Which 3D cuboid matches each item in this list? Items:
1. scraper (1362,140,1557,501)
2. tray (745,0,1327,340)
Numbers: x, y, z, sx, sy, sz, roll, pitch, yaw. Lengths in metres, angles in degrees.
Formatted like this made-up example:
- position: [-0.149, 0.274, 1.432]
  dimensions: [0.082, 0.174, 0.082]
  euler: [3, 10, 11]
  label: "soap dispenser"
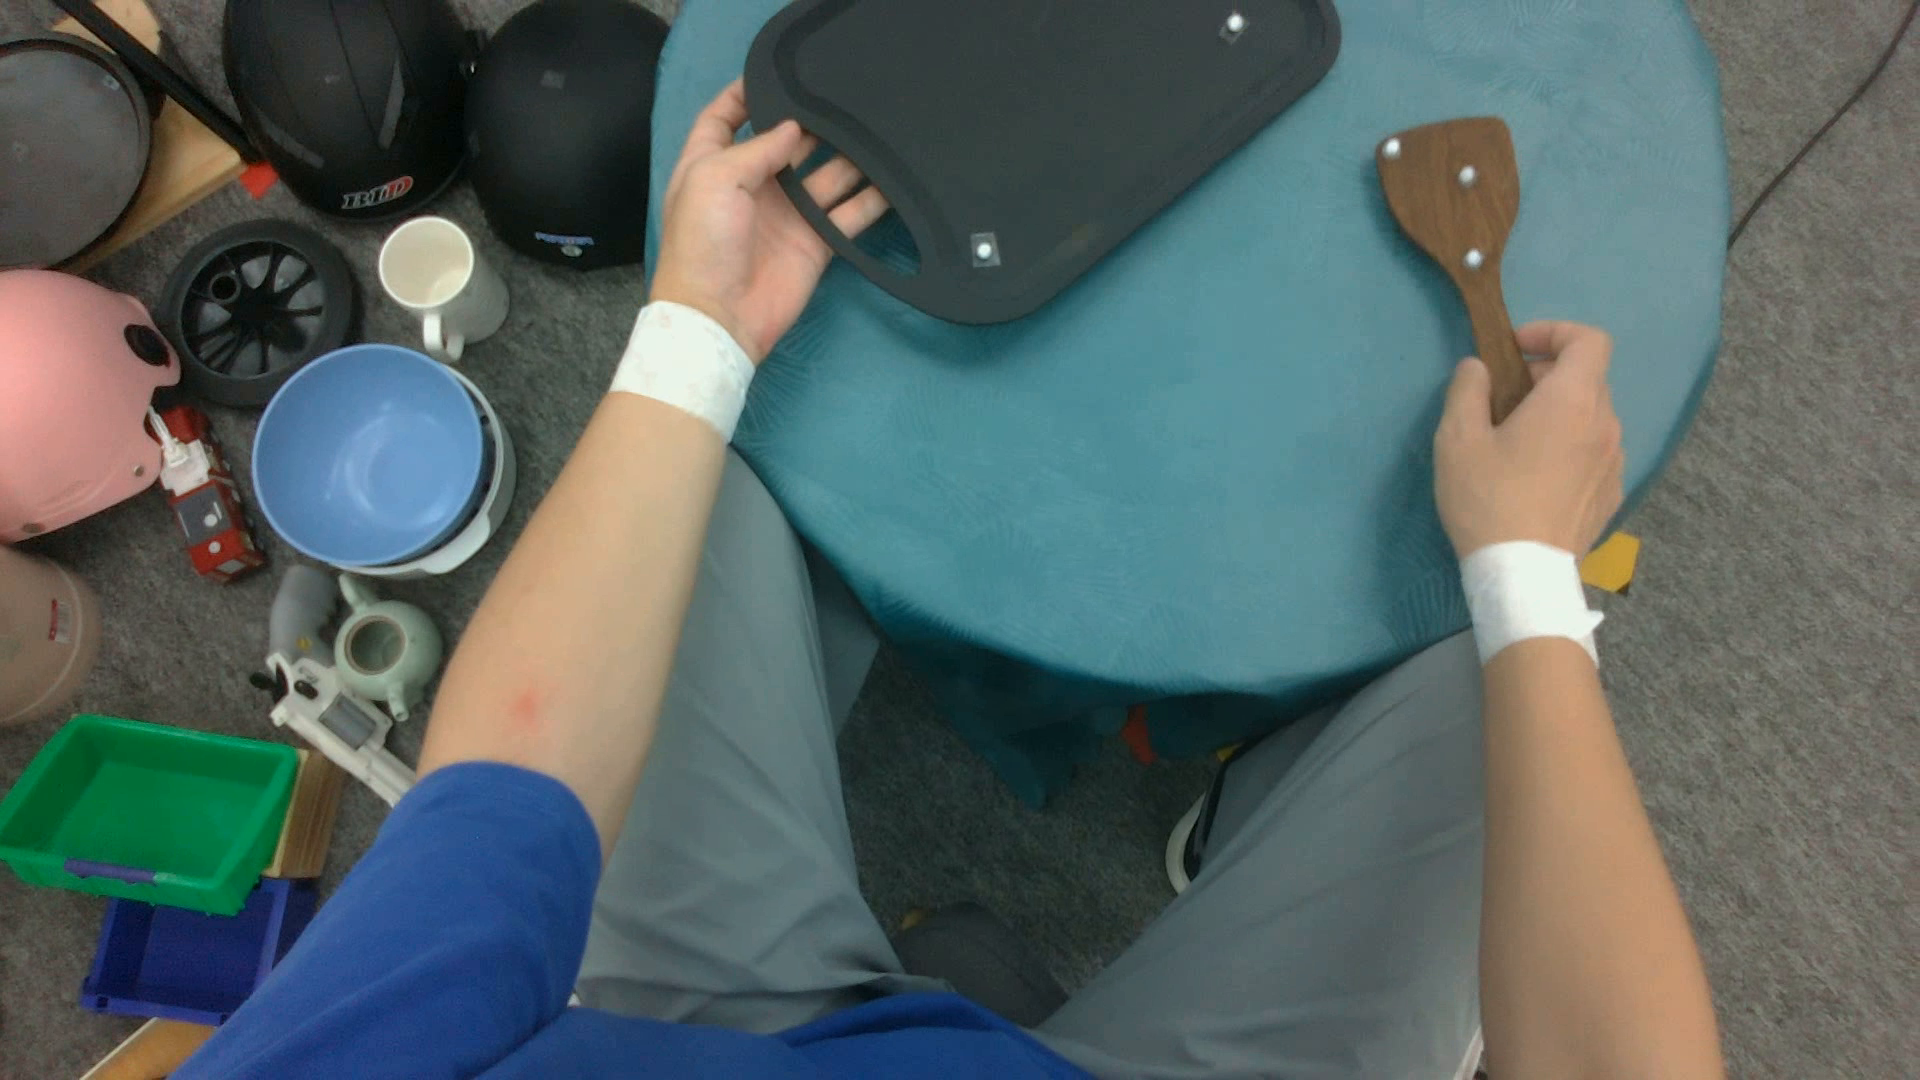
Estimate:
- position: [0.278, -0.120, 0.742]
  dimensions: [0.076, 0.011, 0.212]
  euler: [-11, 72, 3]
  label: "scraper"
- position: [0.043, -0.253, 0.764]
  dimensions: [0.326, 0.010, 0.211]
  euler: [-40, 83, -16]
  label: "tray"
